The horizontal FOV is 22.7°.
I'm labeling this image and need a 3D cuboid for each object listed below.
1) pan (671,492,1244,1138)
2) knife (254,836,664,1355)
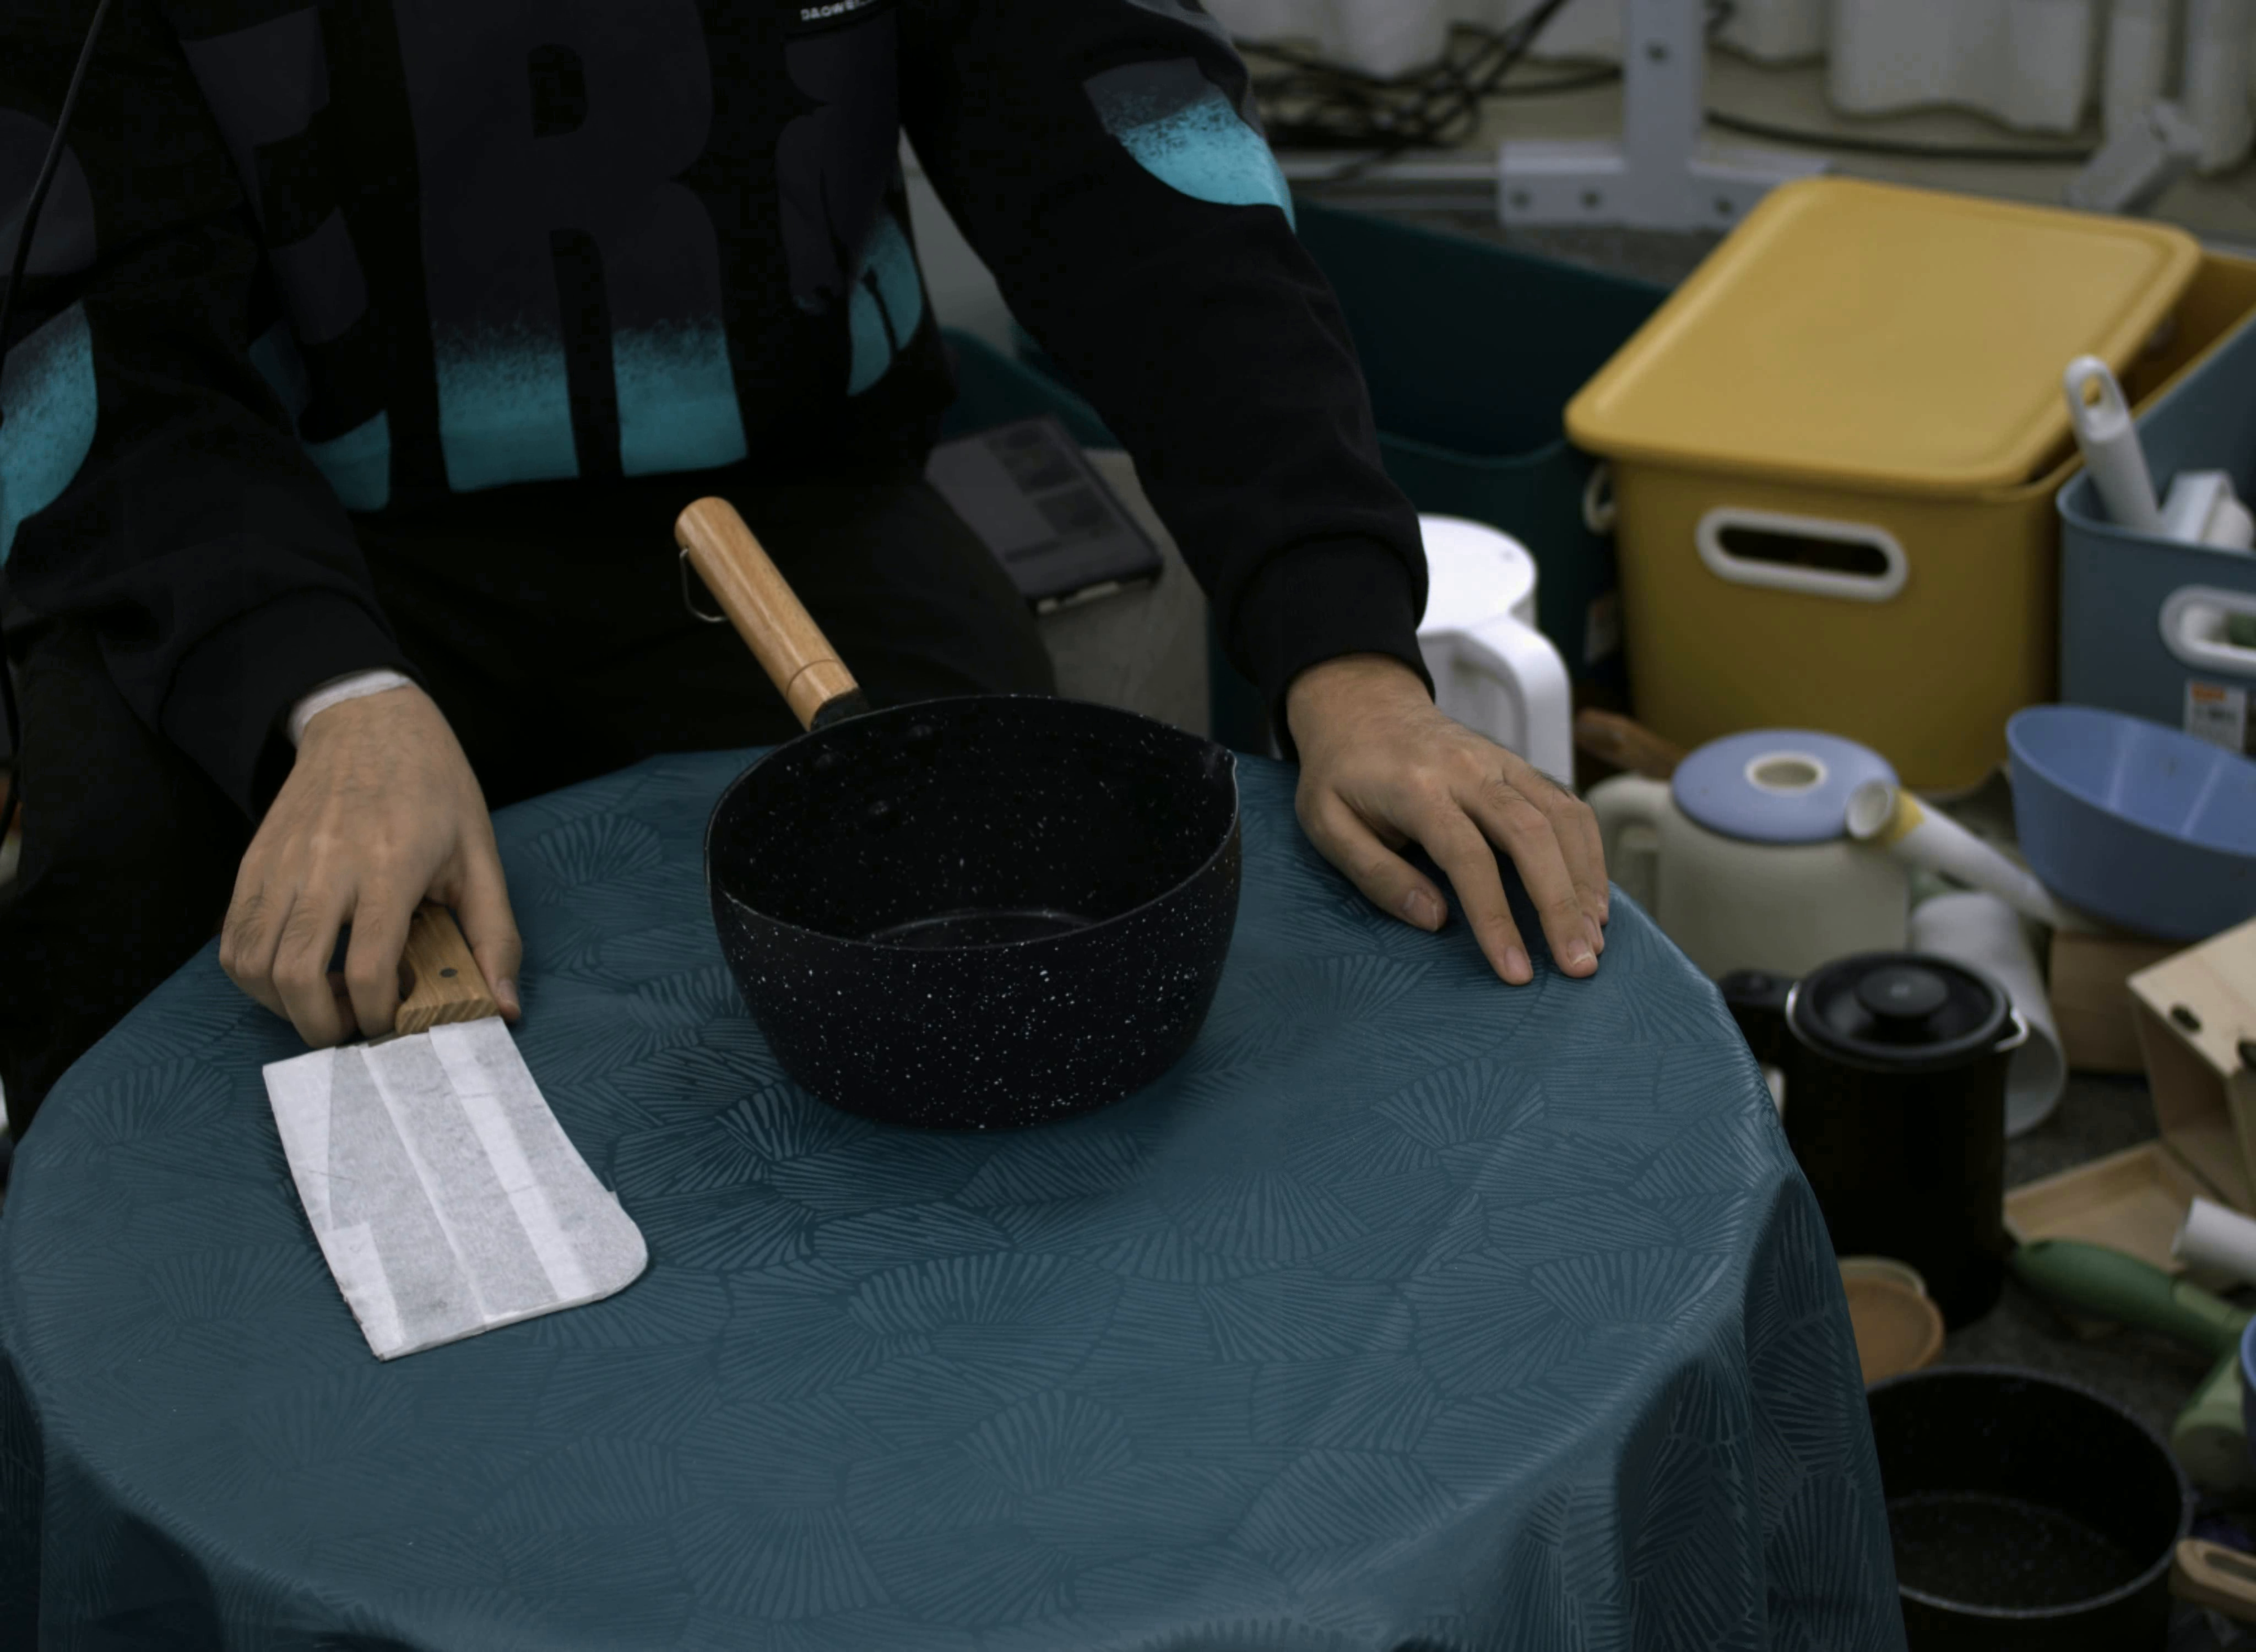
[{"bbox_3d":[-0.088,-0.008,2.004,0.208,0.107,0.345,-17,31,-23],"label":"pan"},{"bbox_3d":[-0.241,0.088,1.931,0.114,0.021,0.319,-10,31,-13],"label":"knife"}]
